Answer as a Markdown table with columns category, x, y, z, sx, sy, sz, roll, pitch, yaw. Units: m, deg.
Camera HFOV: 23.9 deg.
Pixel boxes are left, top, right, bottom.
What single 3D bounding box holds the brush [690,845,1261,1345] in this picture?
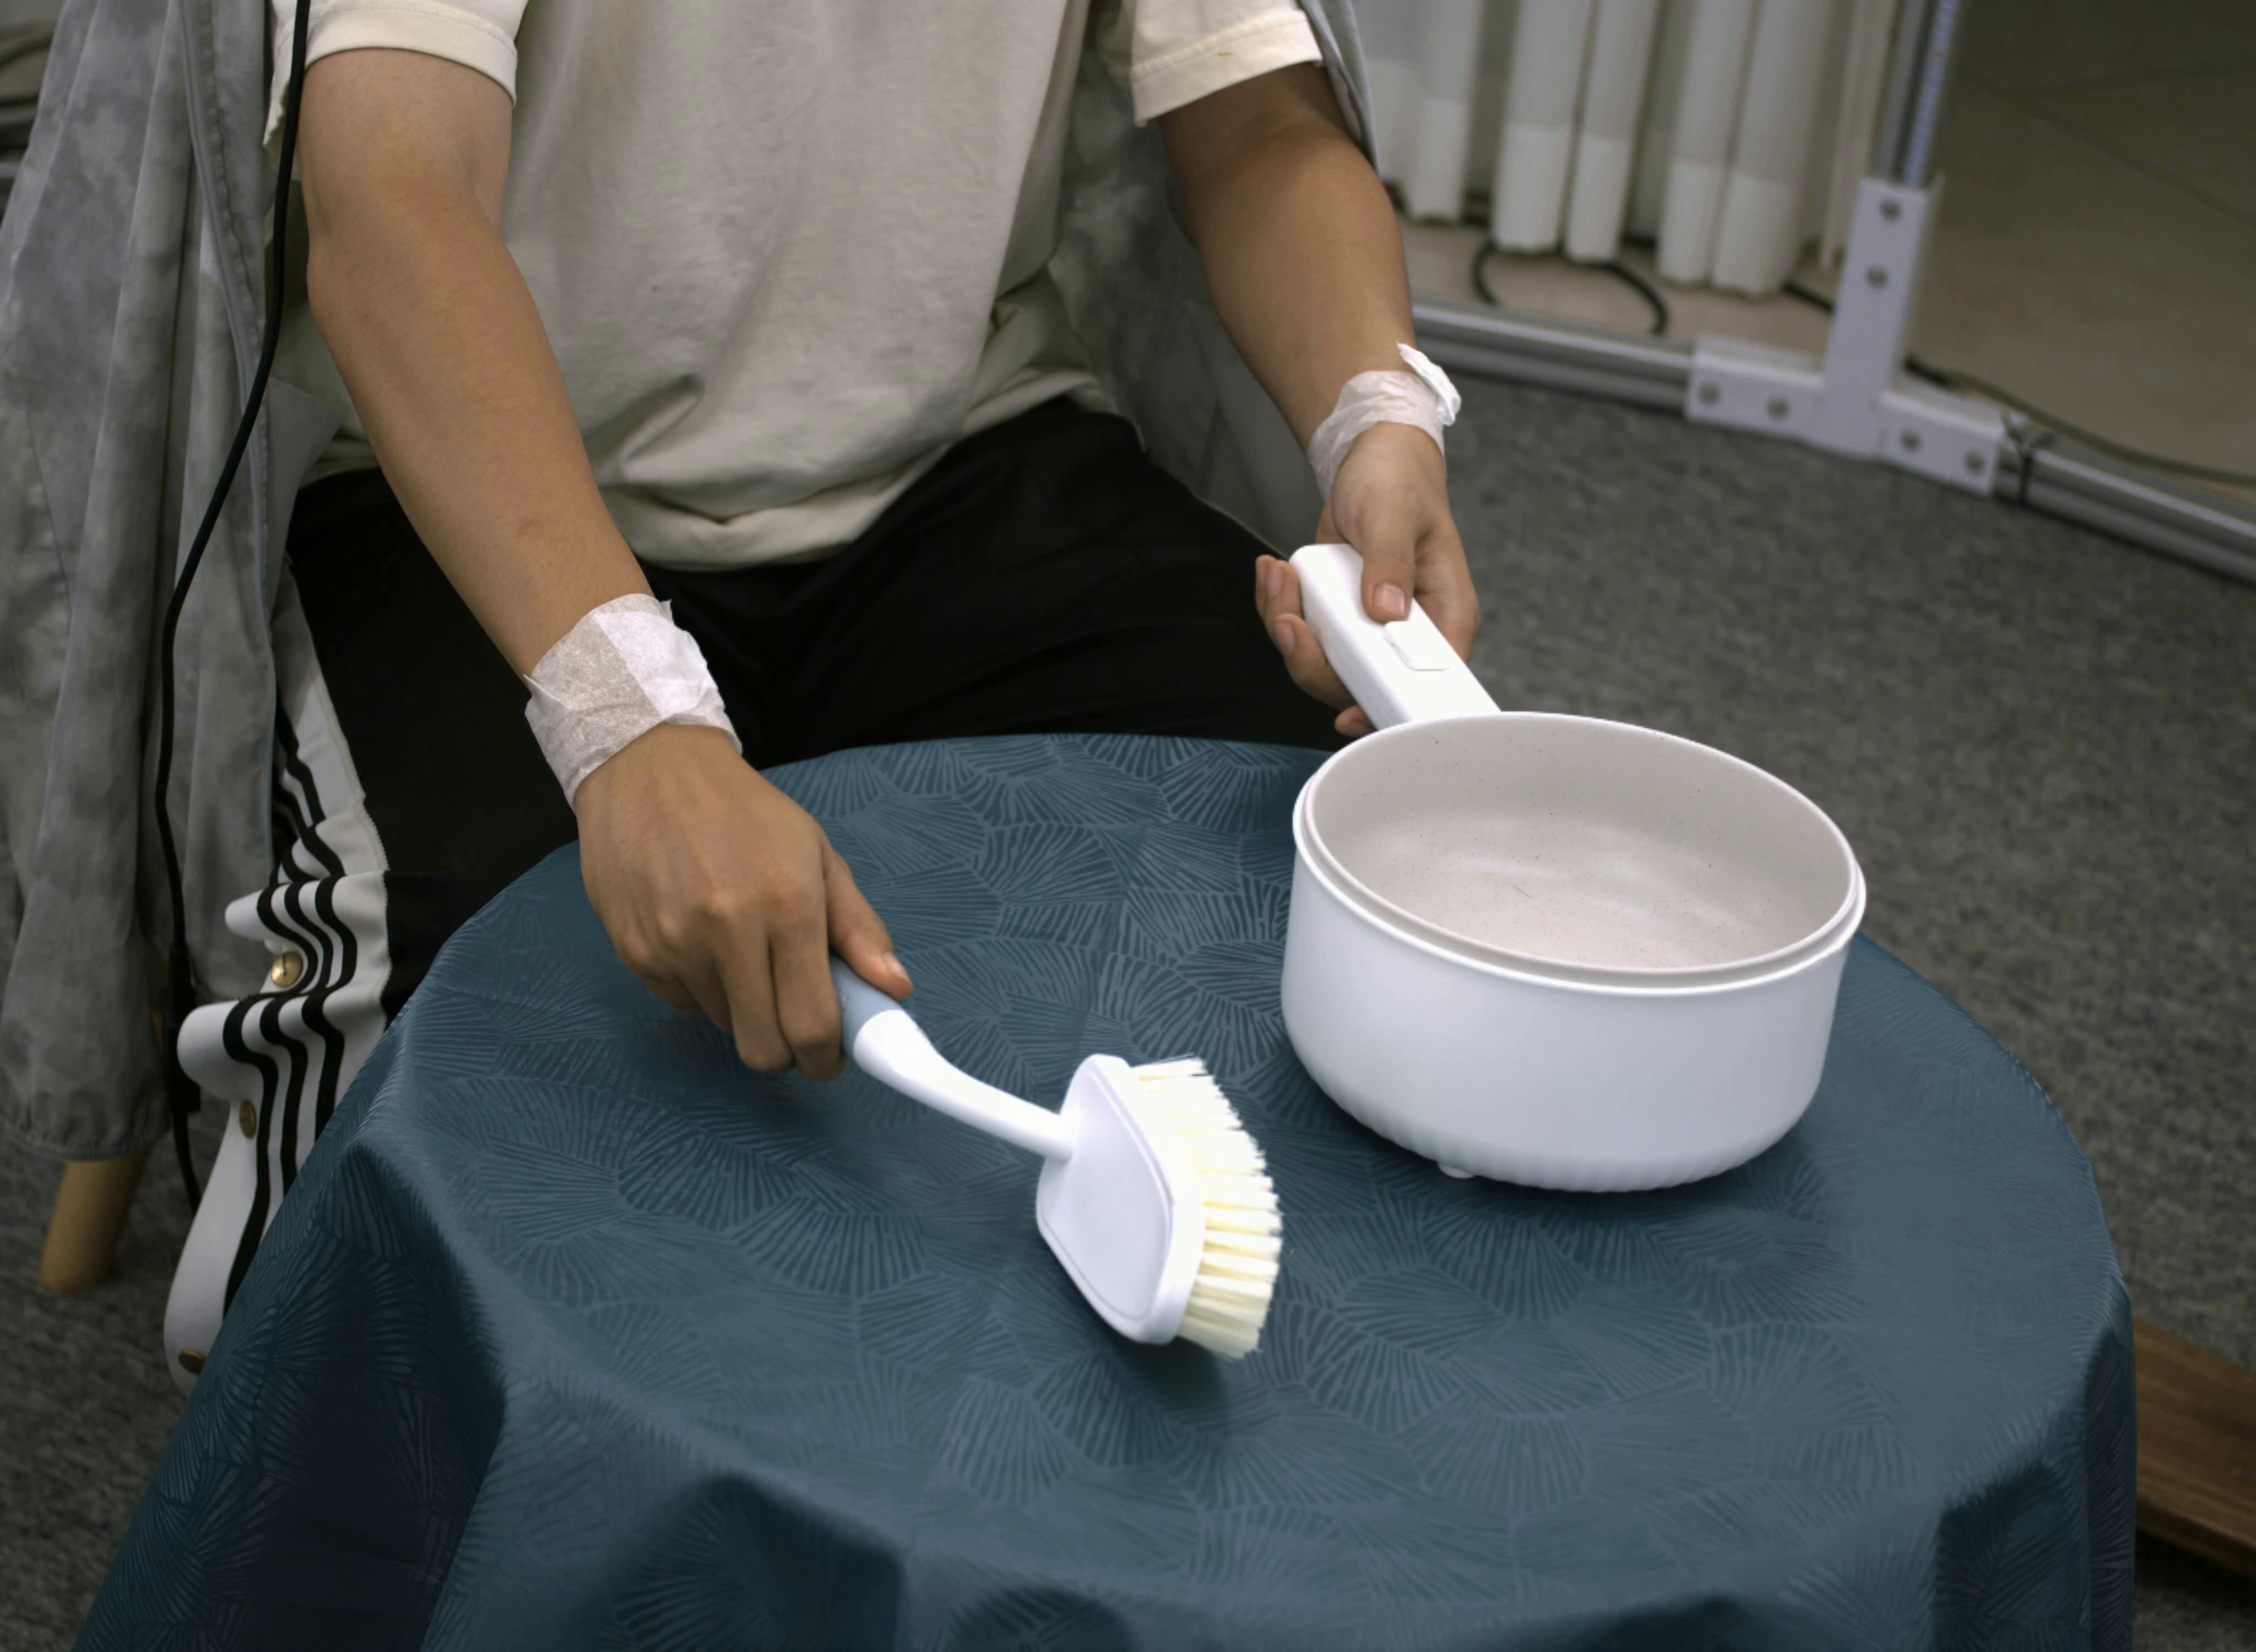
| category | x | y | z | sx | sy | sz | roll | pitch | yaw |
| --- | --- | --- | --- | --- | --- | --- | --- | --- | --- |
| brush | -0.040 | 0.080 | 1.801 | 0.083 | 0.084 | 0.328 | -43 | 40 | -6 |

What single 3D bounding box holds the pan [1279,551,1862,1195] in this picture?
| category | x | y | z | sx | sy | sz | roll | pitch | yaw |
| --- | --- | --- | --- | --- | --- | --- | --- | --- | --- |
| pan | 0.129 | 0.015 | 1.942 | 0.200 | 0.102 | 0.358 | -4 | 28 | -18 |
